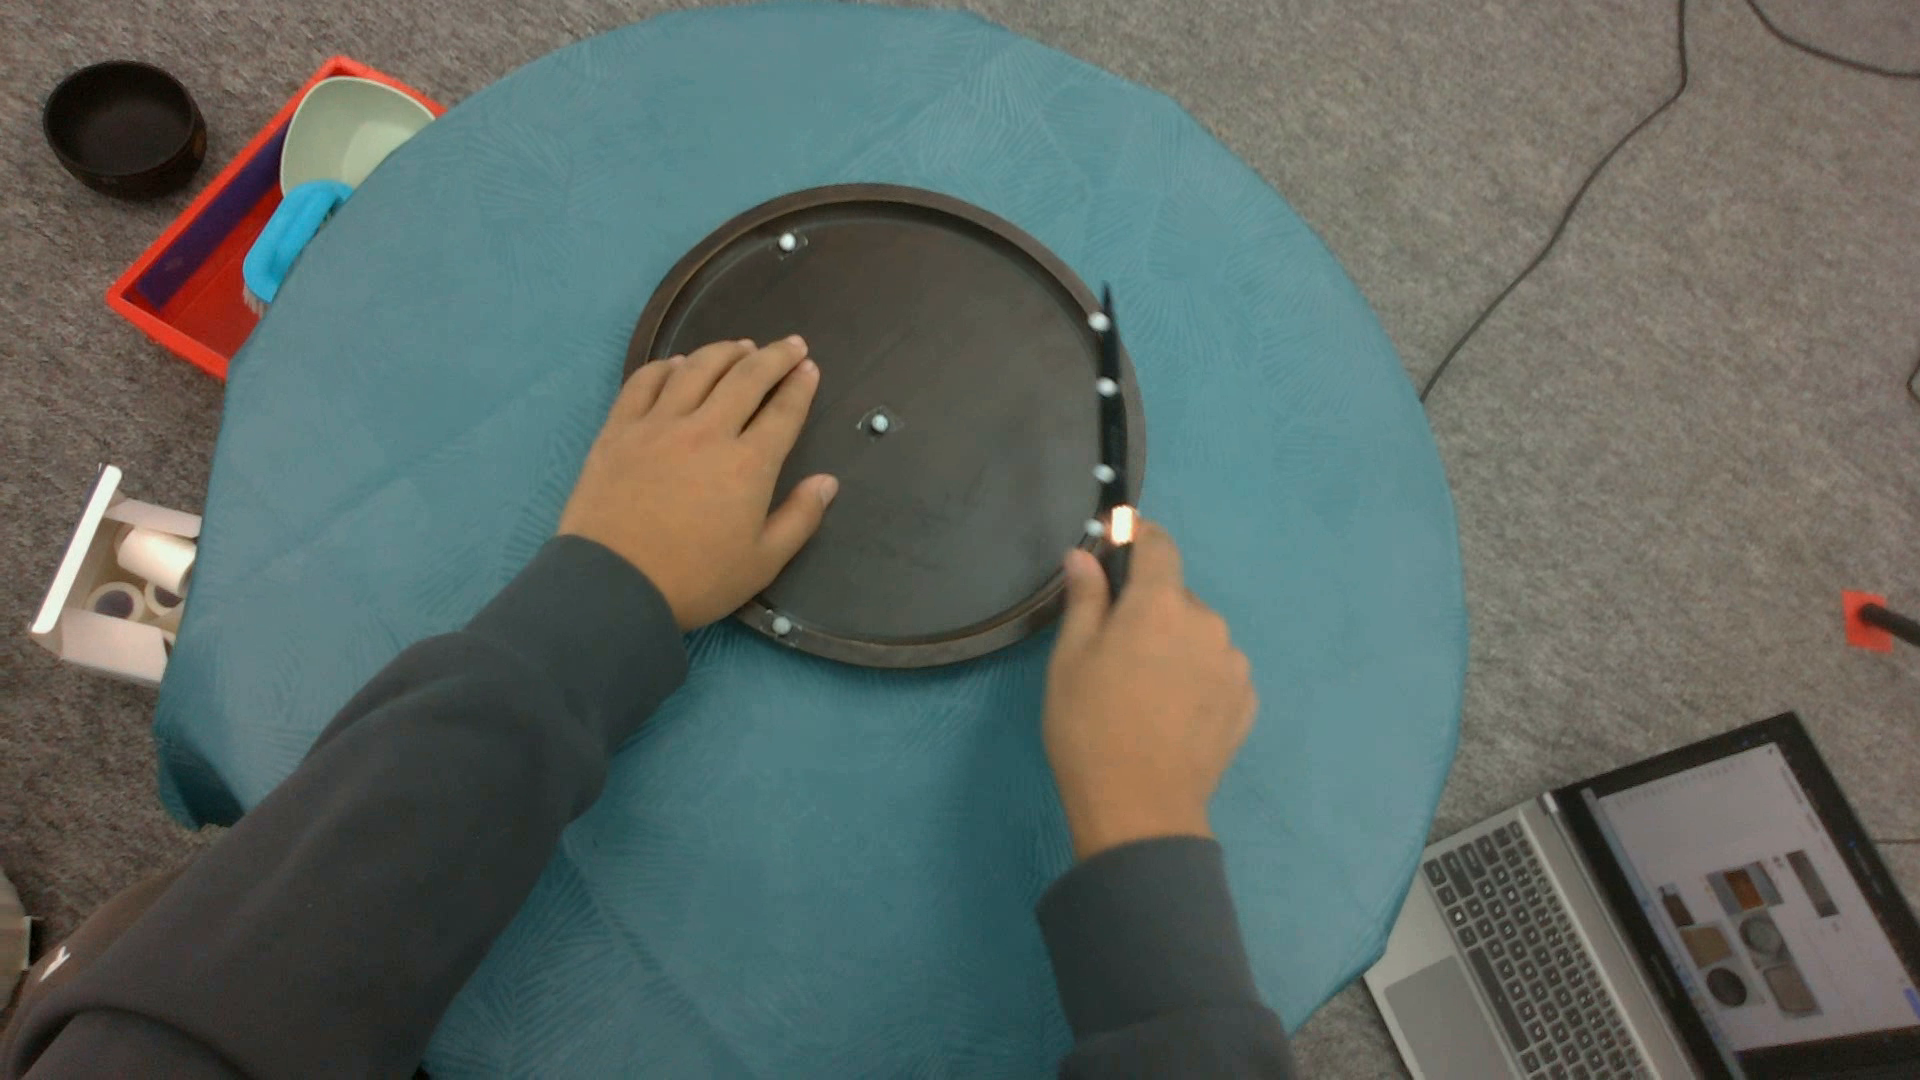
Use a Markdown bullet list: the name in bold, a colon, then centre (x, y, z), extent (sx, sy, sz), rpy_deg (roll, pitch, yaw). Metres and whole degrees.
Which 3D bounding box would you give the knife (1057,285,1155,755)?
- **knife**: centre (0.065, -0.014, 0.628), extent (0.017, 0.026, 0.226), rpy_deg (0, 75, -29)

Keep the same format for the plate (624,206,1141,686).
- **plate**: centre (-0.035, -0.051, 0.676), extent (0.255, 0.029, 0.255), rpy_deg (3, 71, -10)
